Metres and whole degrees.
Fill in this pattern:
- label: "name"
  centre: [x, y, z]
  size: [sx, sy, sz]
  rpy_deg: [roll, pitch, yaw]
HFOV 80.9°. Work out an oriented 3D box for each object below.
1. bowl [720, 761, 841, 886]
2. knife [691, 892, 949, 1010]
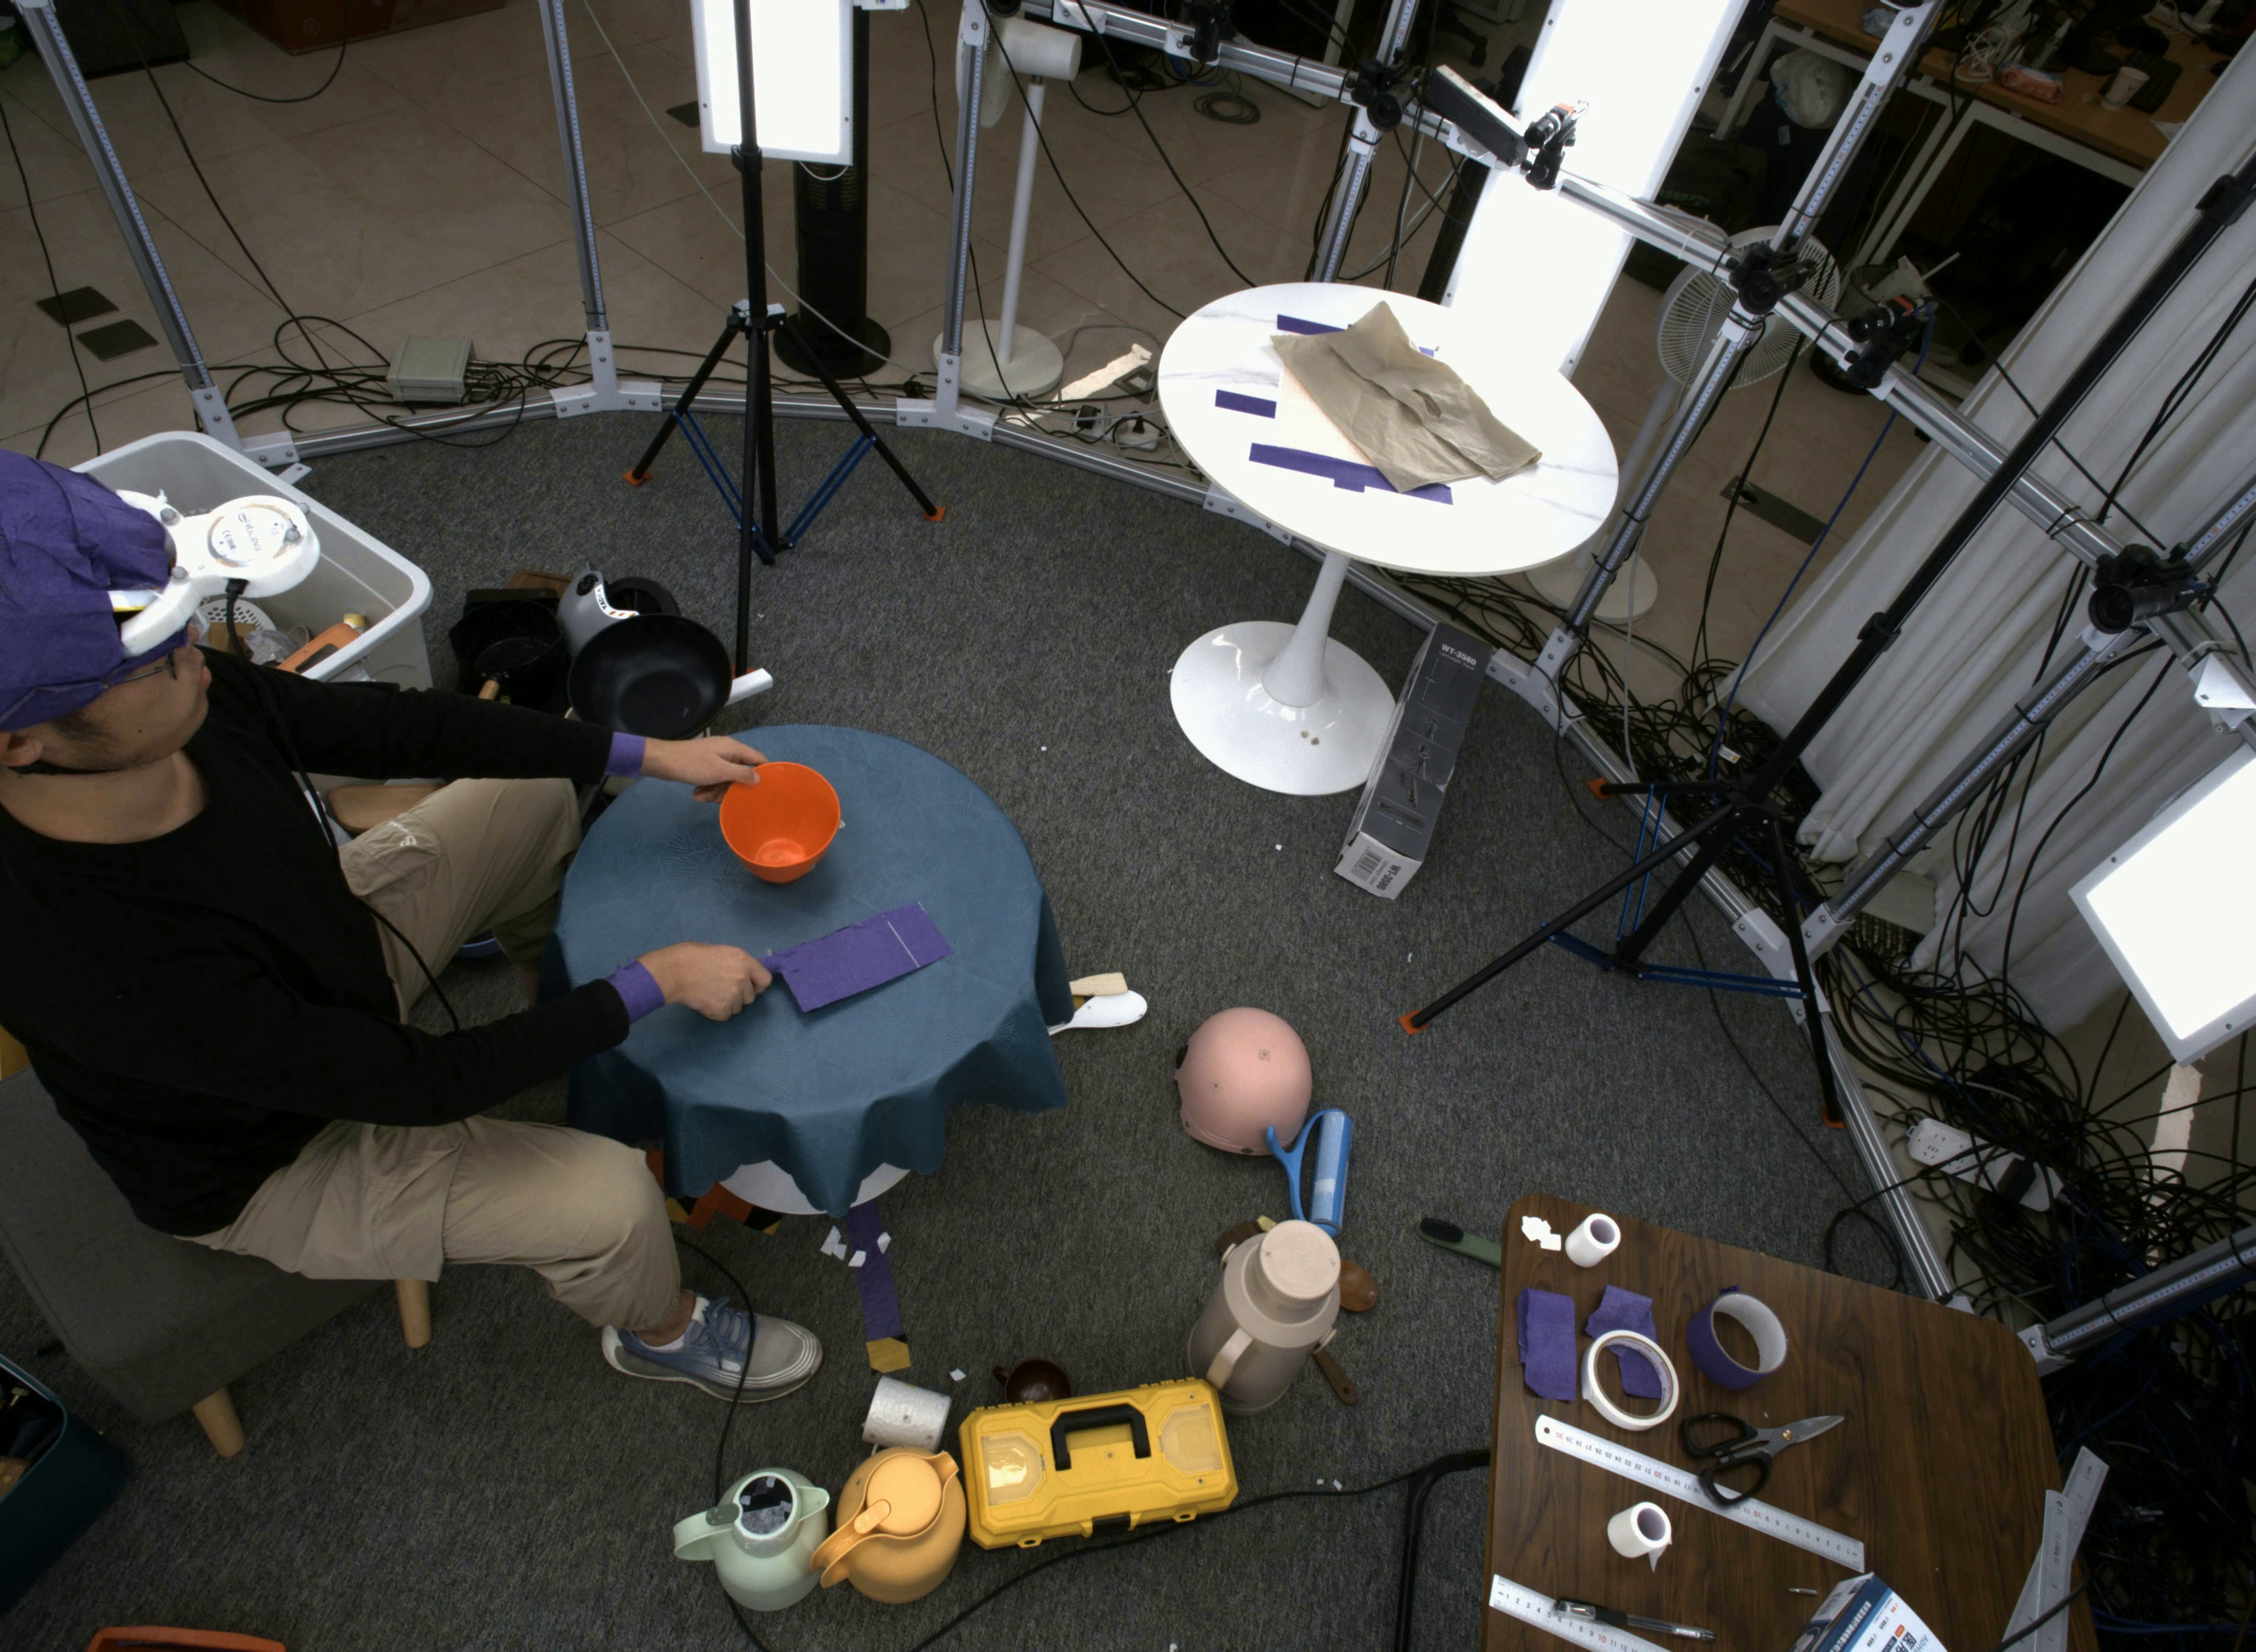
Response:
- label: "bowl"
  centre: [-0.441, 0.007, 1.645]
  size: [0.148, 0.106, 0.145]
  rpy_deg: [9, 52, -10]
- label: "knife"
  centre: [-0.368, 0.168, 1.585]
  size: [0.317, 0.033, 0.101]
  rpy_deg: [-23, 62, -32]
